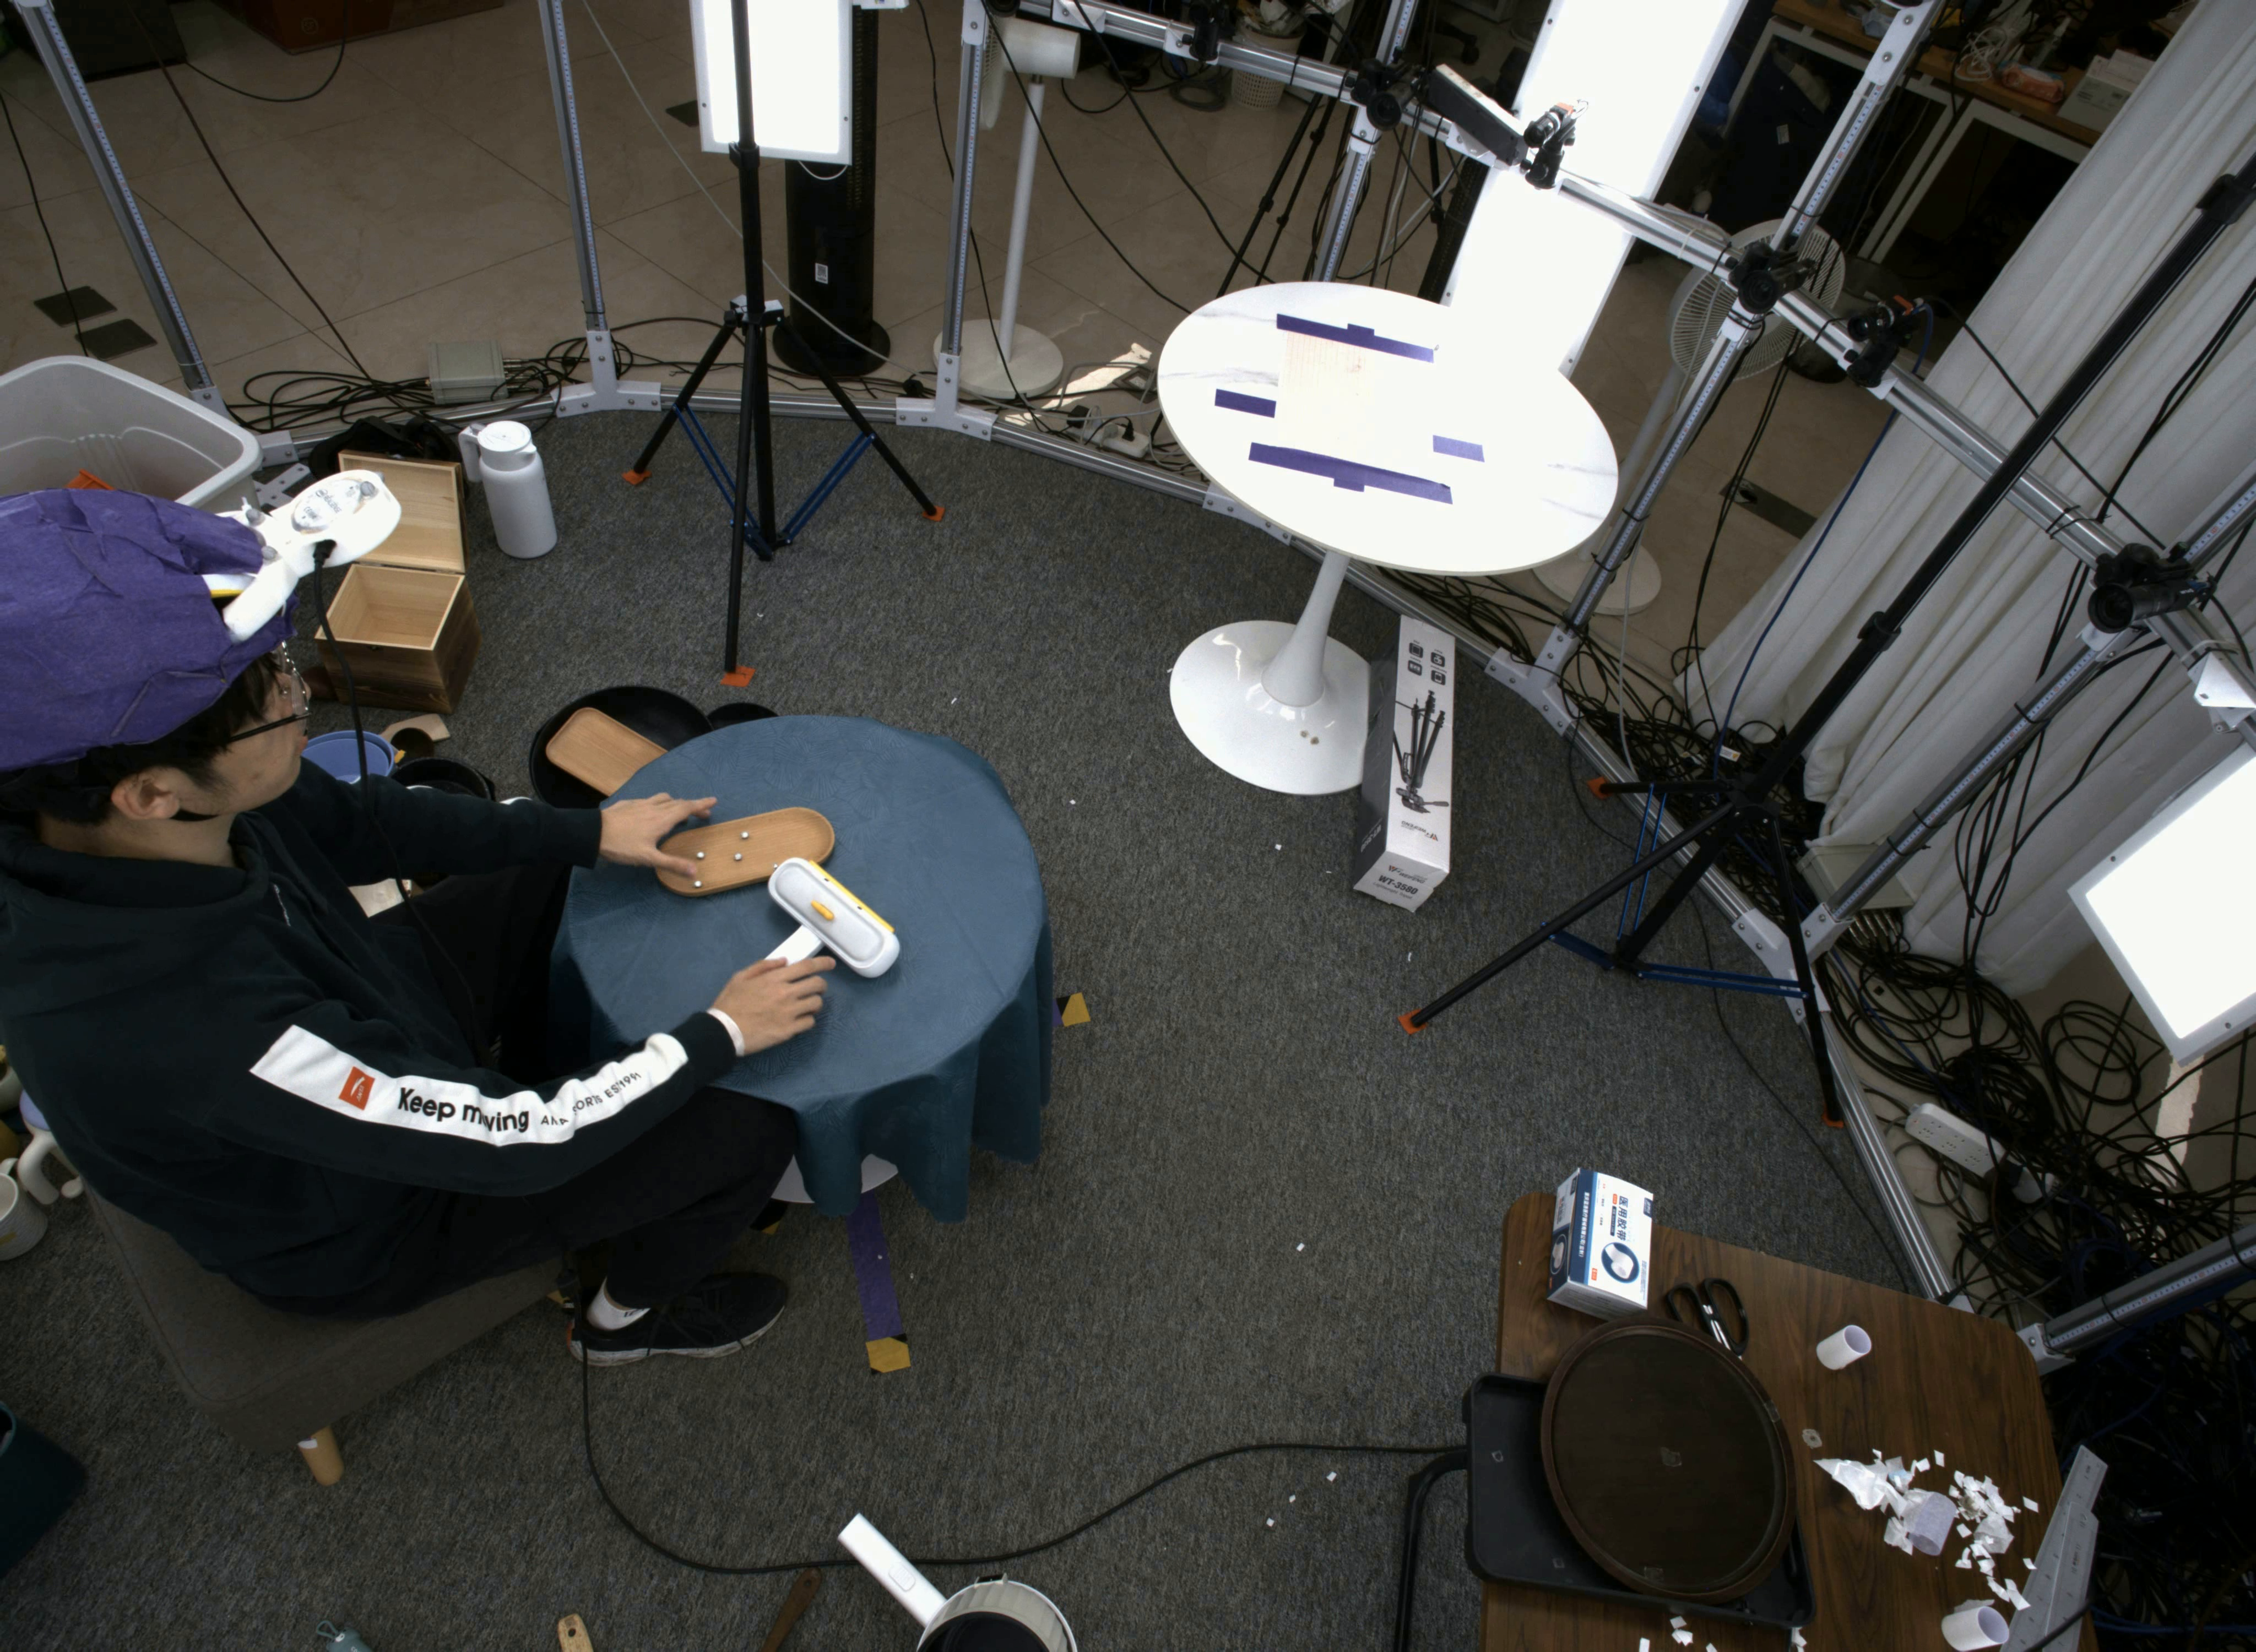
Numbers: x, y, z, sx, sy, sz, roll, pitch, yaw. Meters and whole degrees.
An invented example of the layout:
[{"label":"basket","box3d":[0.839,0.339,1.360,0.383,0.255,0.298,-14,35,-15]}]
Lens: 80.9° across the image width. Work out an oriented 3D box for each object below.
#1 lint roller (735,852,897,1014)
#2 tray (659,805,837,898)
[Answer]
[{"label":"lint roller","box3d":[-0.407,0.148,1.594,0.191,0.075,0.192,36,73,5]},{"label":"tray","box3d":[-0.492,0.031,1.678,0.232,0.021,0.099,-15,60,-25]}]
